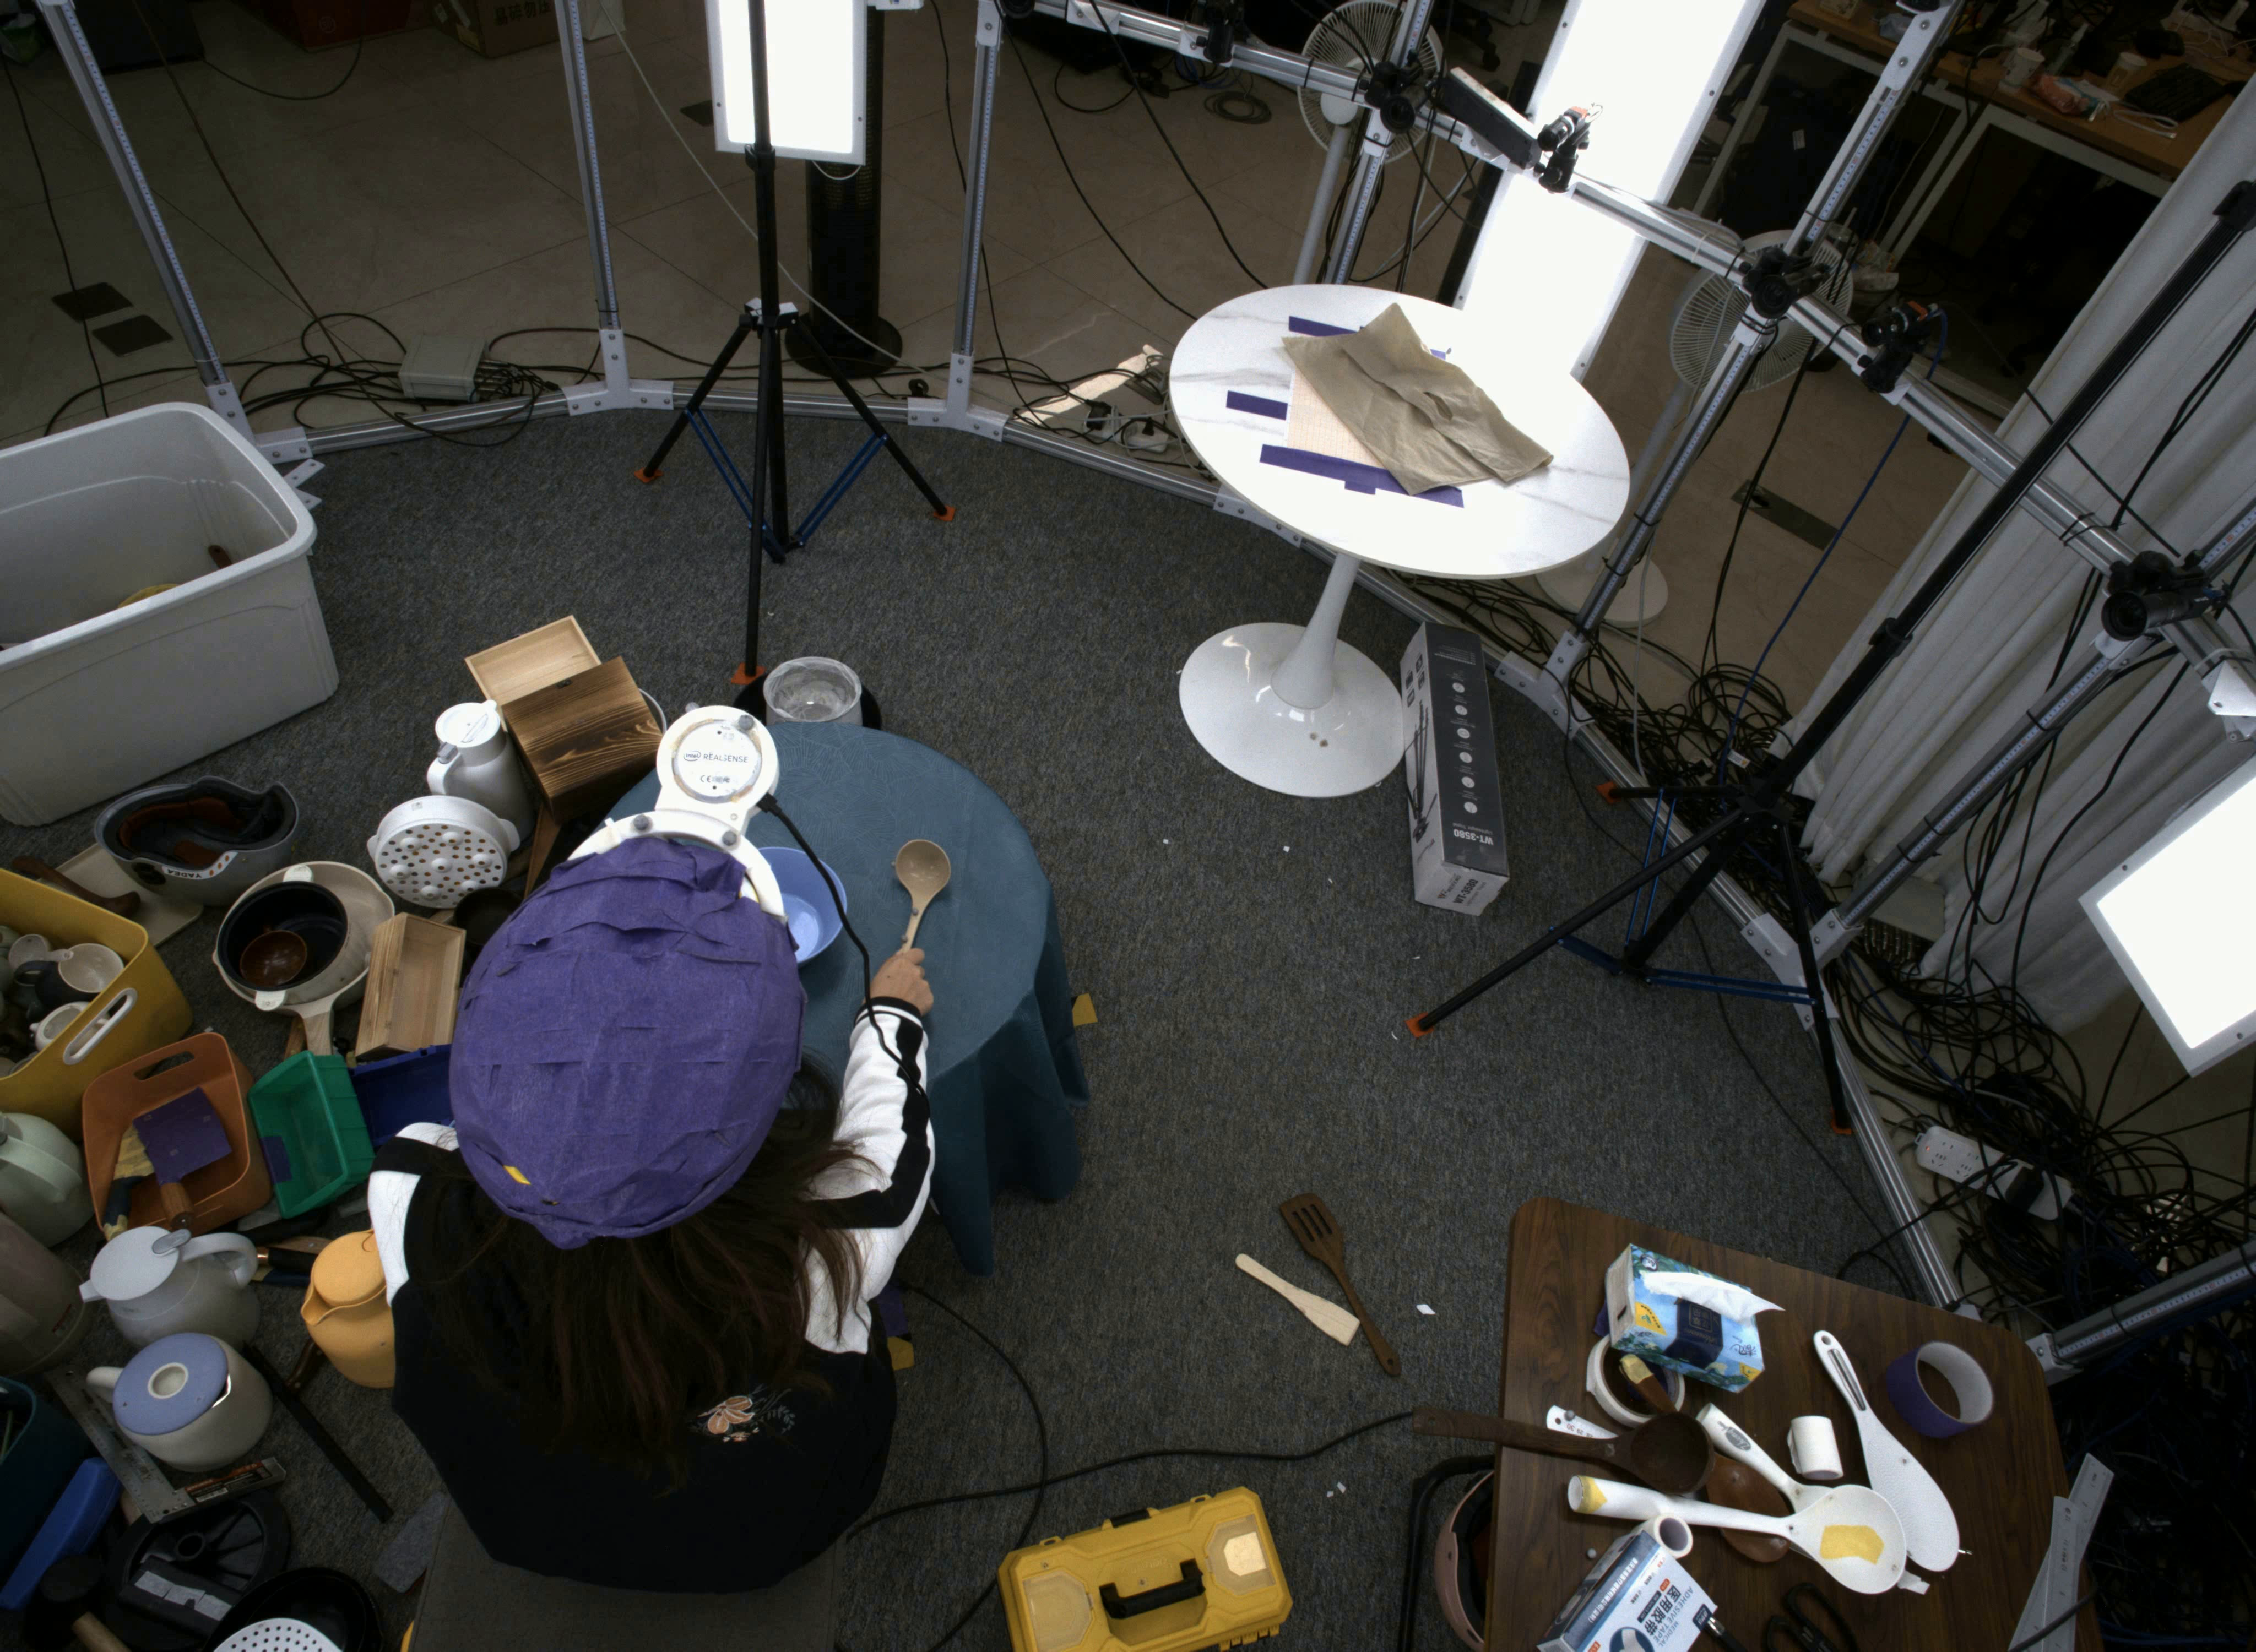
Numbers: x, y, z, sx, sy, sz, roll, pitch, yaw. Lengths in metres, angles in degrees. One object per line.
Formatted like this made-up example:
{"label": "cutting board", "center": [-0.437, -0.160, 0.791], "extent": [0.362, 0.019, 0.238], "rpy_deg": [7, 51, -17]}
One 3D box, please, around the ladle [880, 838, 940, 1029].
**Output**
{"label": "ladle", "center": [-0.282, 0.122, 1.608], "extent": [0.071, 0.075, 0.249], "rpy_deg": [2, 47, 2]}

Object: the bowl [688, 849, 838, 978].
{"label": "bowl", "center": [-0.443, 0.117, 1.582], "extent": [0.175, 0.072, 0.173], "rpy_deg": [7, 52, -8]}
